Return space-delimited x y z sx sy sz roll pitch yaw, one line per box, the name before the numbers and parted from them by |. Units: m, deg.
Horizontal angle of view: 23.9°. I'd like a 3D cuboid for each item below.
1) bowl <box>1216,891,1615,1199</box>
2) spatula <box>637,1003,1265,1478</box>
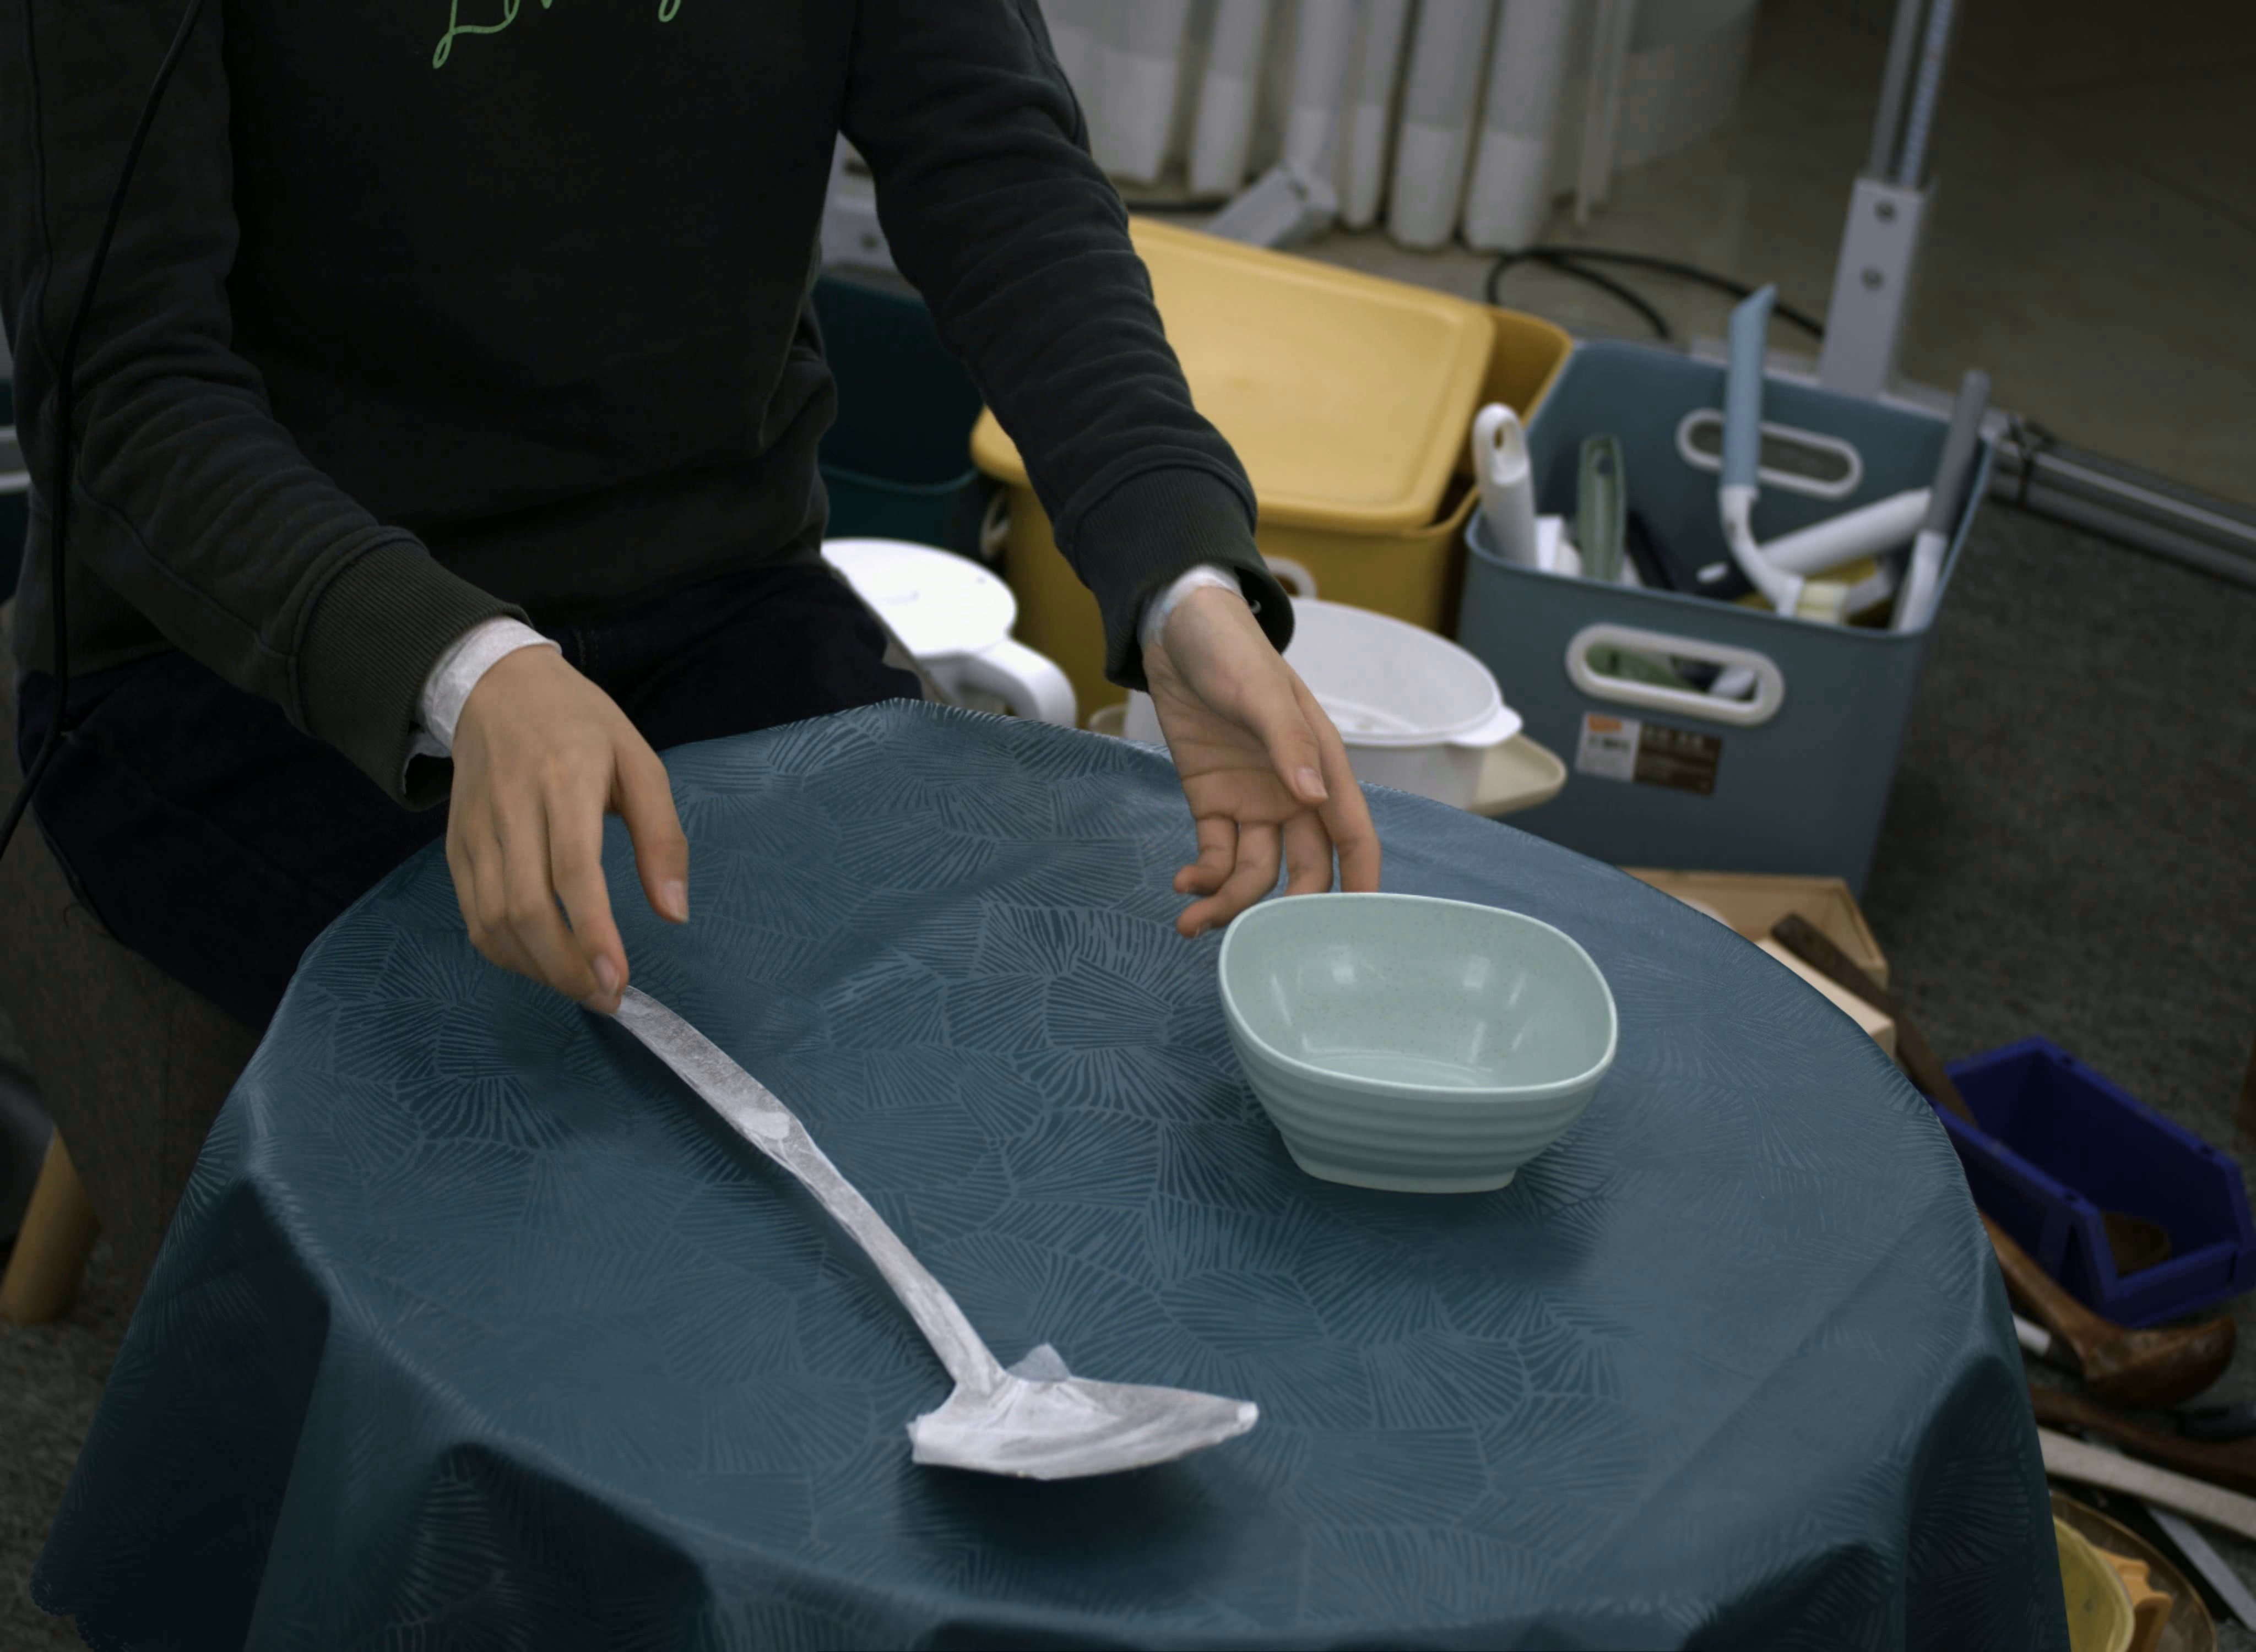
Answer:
bowl | 0.095 0.082 1.844 0.151 0.058 0.152 7 28 -4
spatula | -0.082 0.127 1.733 0.098 0.044 0.368 -11 32 -28
